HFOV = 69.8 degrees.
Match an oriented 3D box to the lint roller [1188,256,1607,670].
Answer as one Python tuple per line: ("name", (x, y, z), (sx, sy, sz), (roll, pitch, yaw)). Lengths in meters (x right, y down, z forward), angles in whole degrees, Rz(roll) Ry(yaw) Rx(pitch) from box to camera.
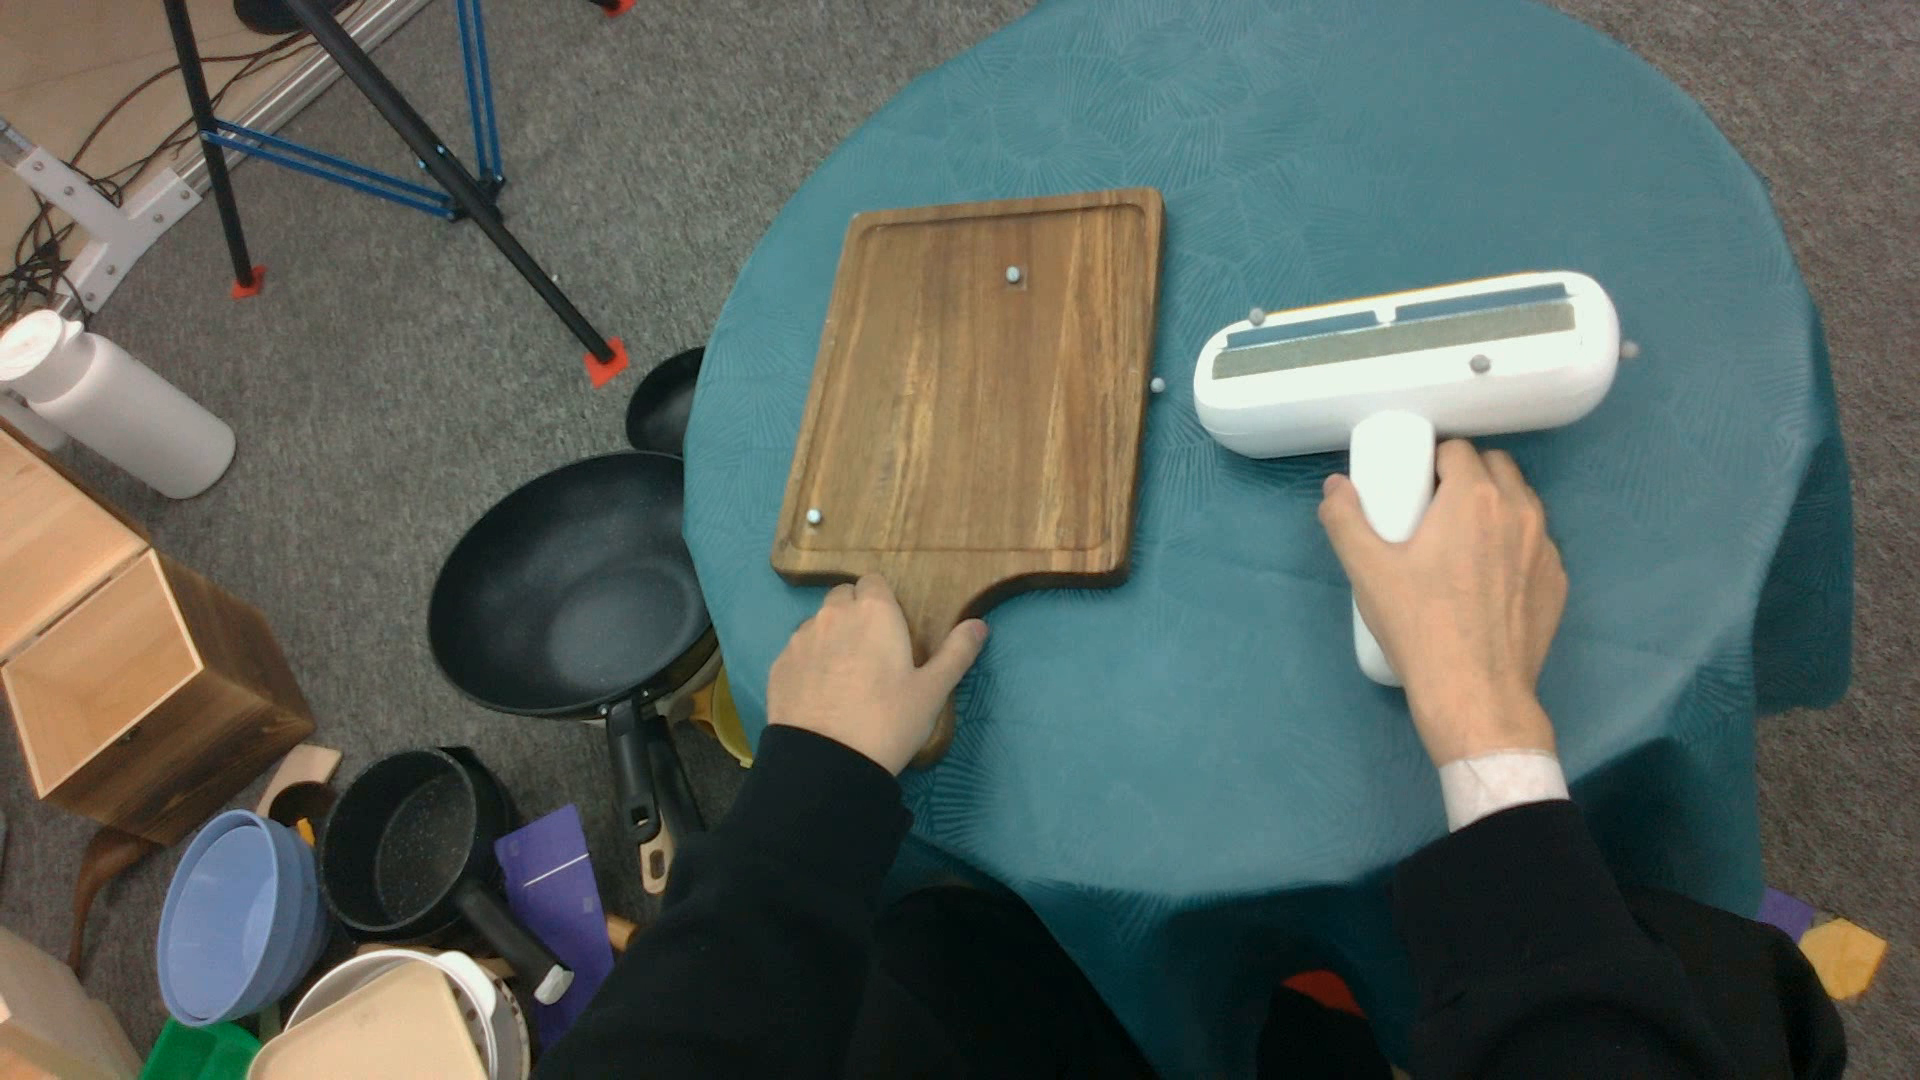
("lint roller", (0.194, -0.037, 0.640), (0.192, 0.074, 0.193), (0, 62, 27))

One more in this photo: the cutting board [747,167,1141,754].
("cutting board", (-0.011, -0.055, 0.745), (0.201, 0.023, 0.353), (0, 62, 17))
